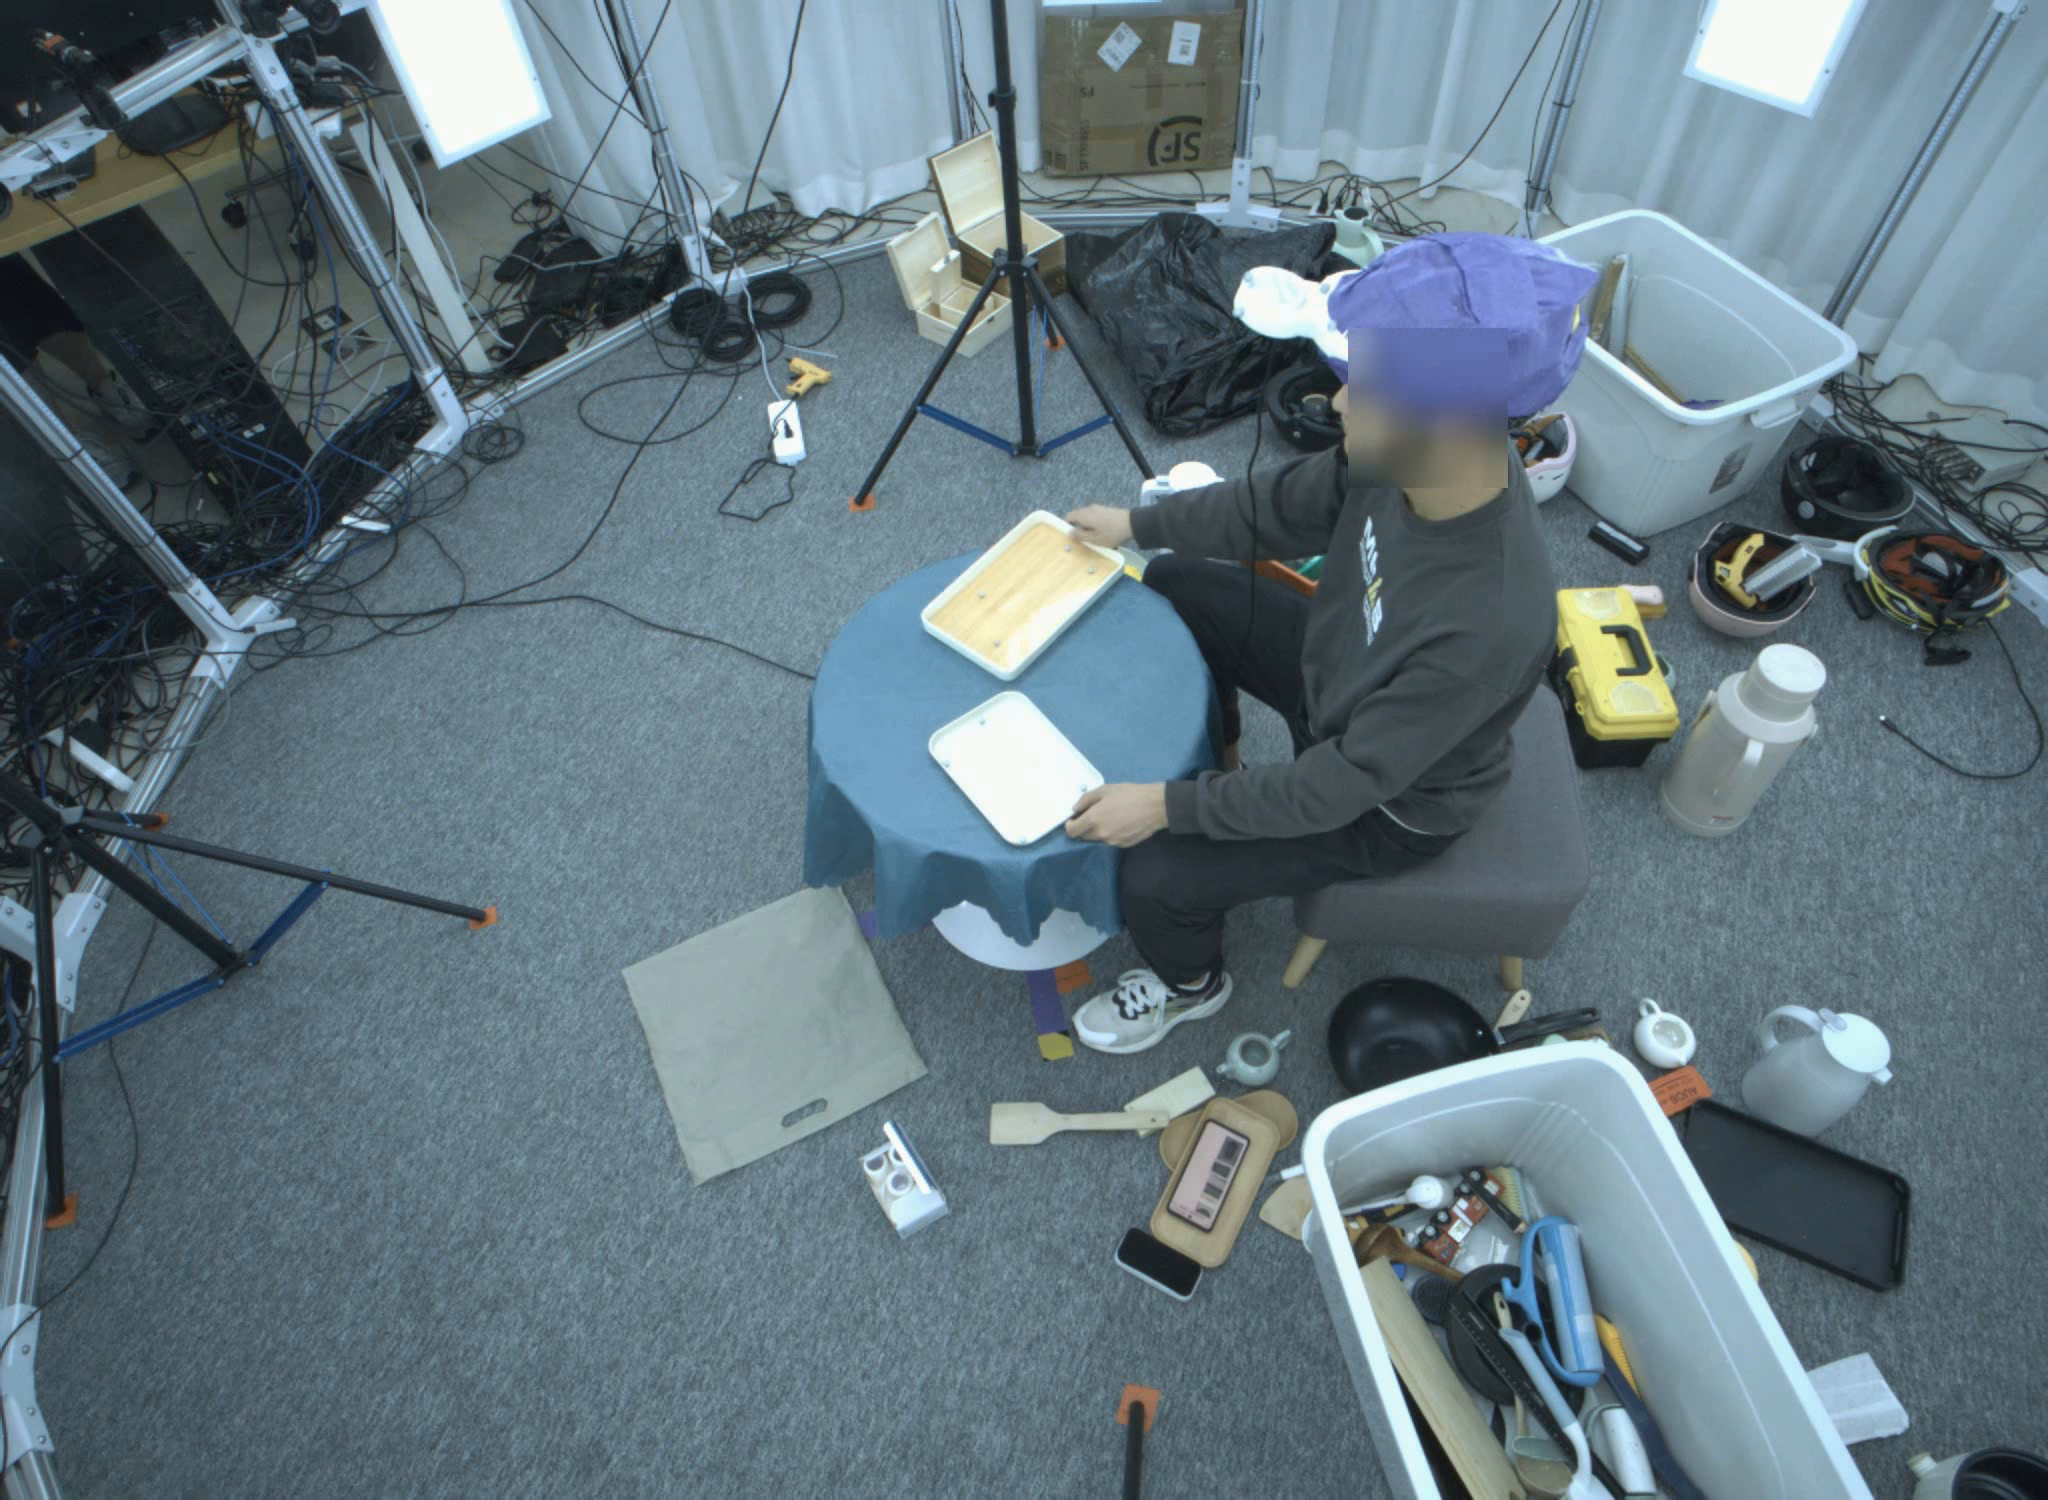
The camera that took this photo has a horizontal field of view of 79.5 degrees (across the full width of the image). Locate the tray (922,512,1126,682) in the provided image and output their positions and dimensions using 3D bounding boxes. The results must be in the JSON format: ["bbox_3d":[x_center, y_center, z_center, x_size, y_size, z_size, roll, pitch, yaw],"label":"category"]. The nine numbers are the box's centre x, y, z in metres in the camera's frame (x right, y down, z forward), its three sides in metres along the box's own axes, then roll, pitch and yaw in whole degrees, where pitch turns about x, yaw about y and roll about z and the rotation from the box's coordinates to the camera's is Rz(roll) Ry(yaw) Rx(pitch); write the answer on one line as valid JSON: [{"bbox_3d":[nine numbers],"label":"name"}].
[{"bbox_3d":[0.001,-0.248,1.939,0.188,0.027,0.302,34,63,21],"label":"tray"}]

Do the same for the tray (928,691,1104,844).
[{"bbox_3d":[-0.013,0.023,1.759,0.173,0.017,0.235,-32,60,-20],"label":"tray"}]
